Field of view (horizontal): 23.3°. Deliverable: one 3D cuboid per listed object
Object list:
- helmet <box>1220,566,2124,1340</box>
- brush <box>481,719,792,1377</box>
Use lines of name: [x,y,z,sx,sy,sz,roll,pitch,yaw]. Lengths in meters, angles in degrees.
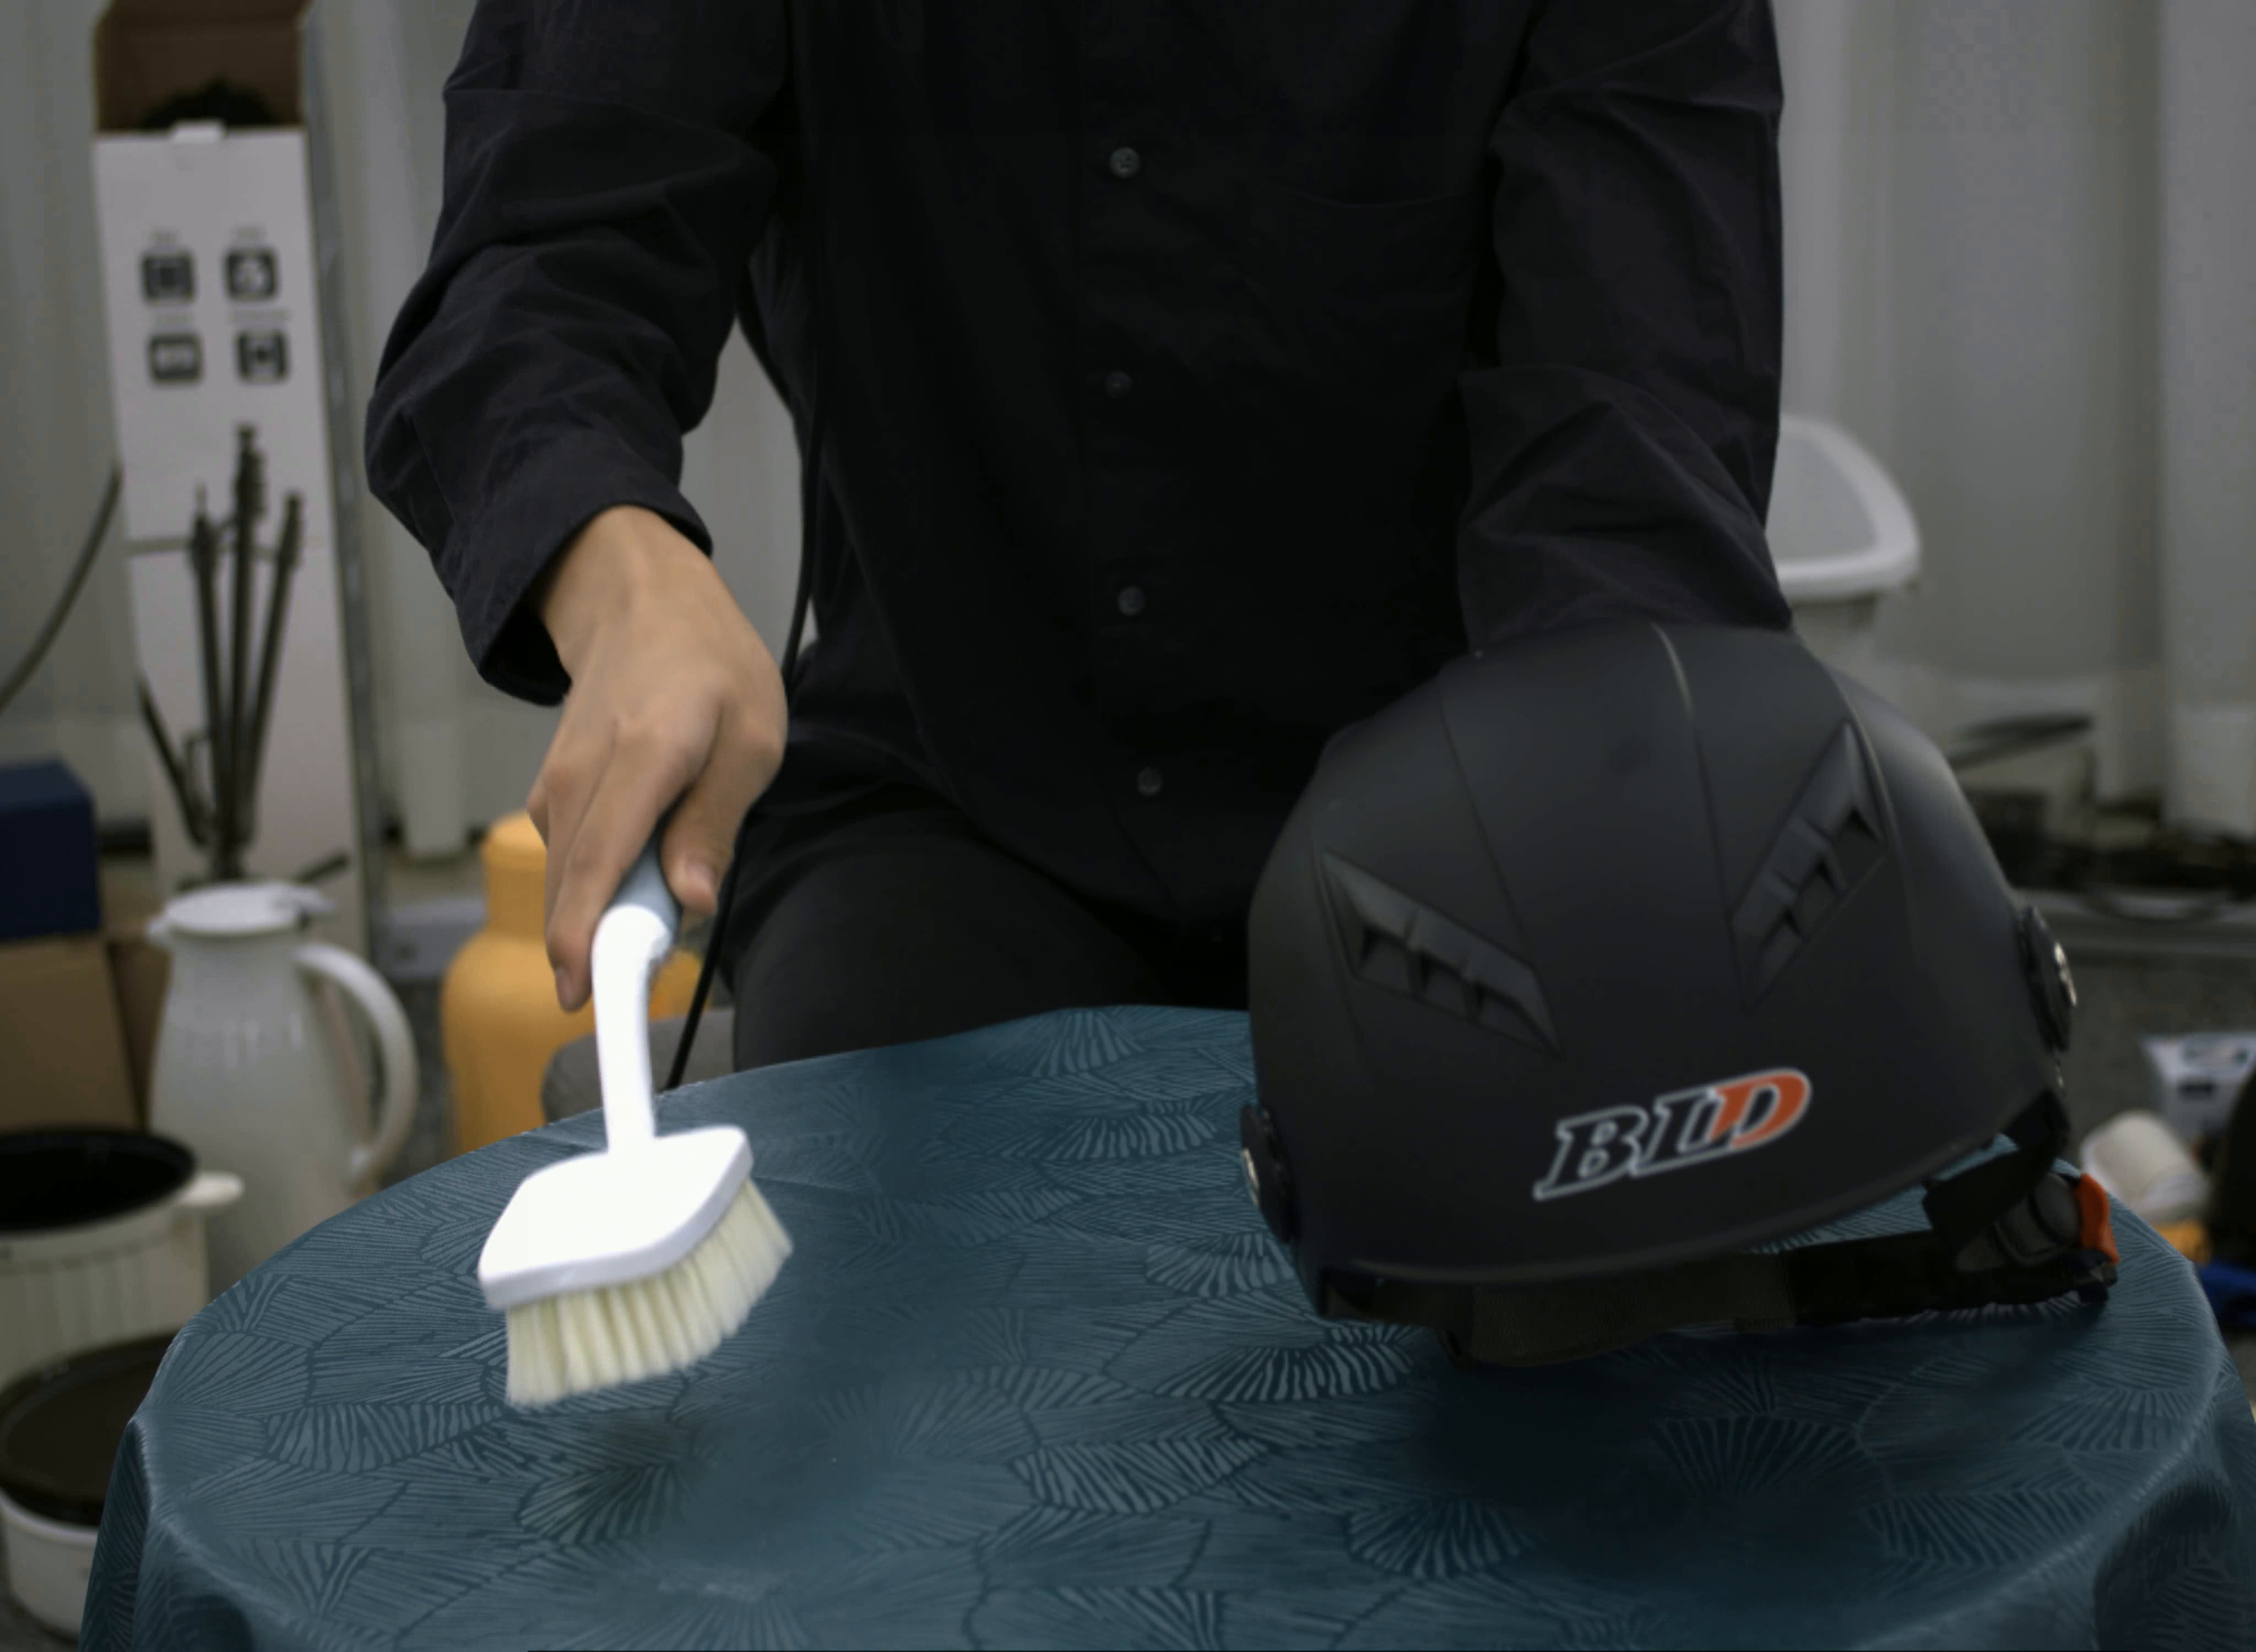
helmet: [0.134,0.022,1.498,0.246,0.172,0.278,-15,12,5]
brush: [-0.130,0.074,1.596,0.083,0.084,0.329,20,25,-6]
